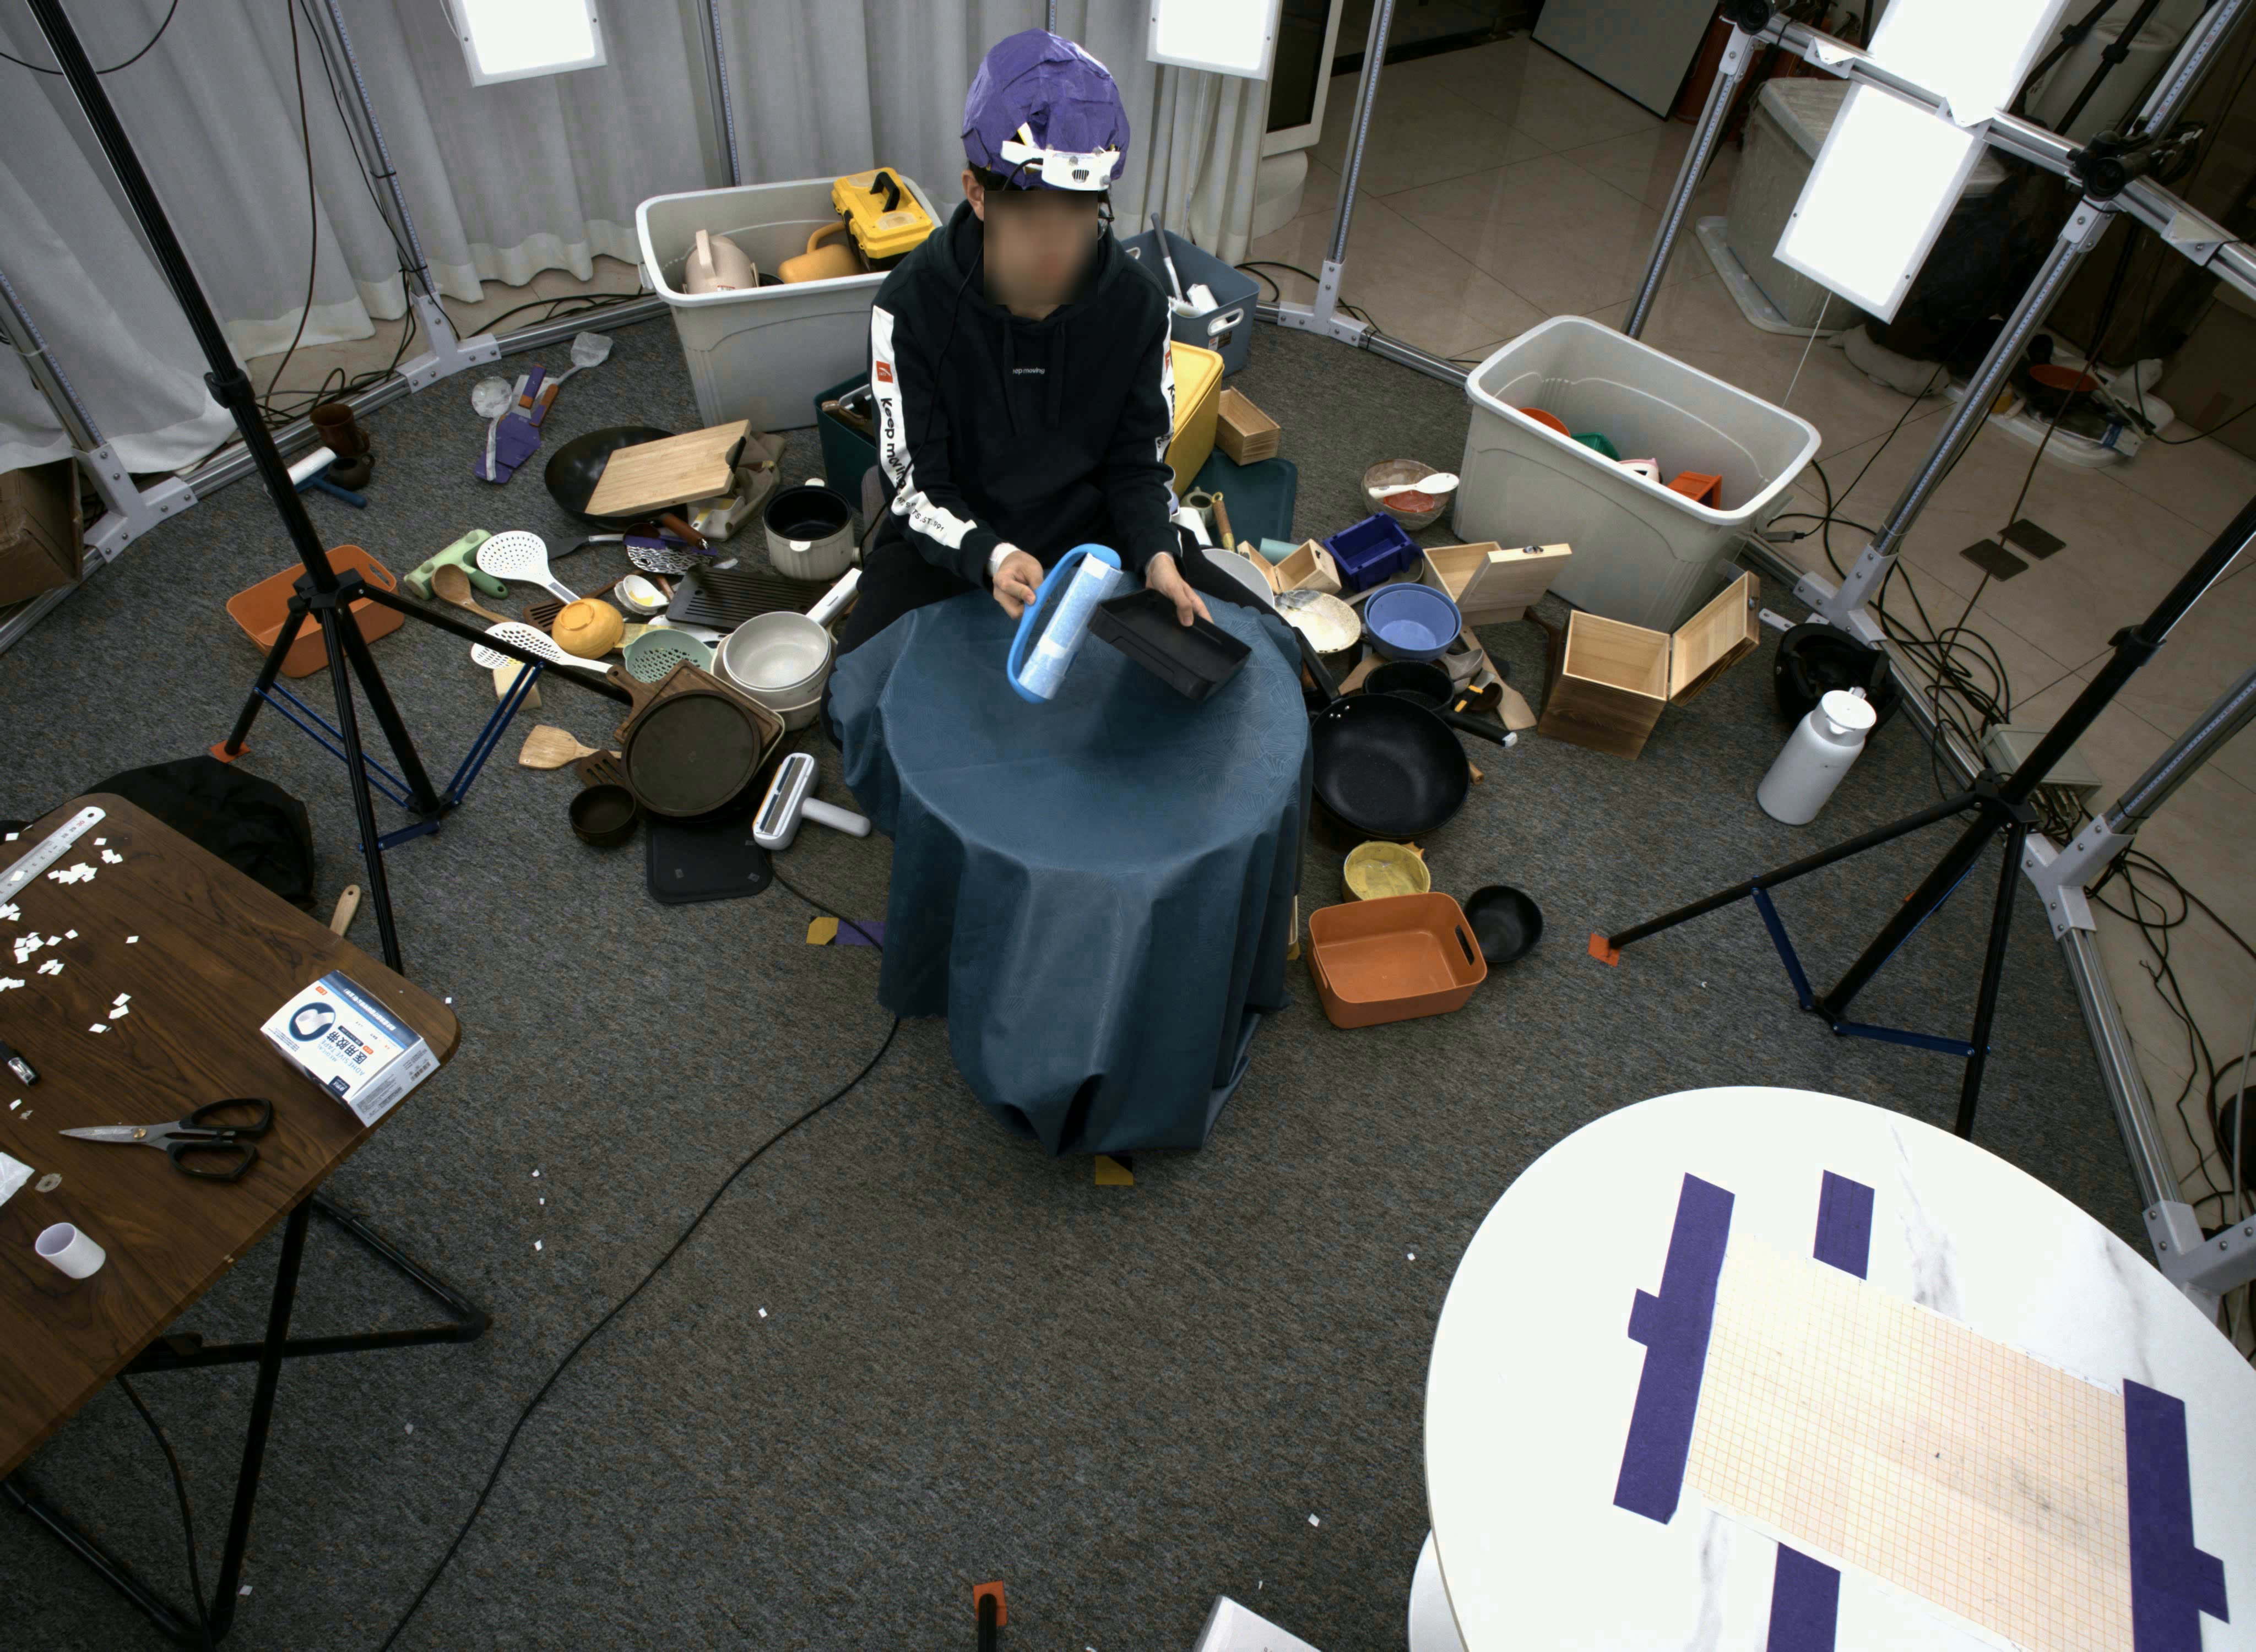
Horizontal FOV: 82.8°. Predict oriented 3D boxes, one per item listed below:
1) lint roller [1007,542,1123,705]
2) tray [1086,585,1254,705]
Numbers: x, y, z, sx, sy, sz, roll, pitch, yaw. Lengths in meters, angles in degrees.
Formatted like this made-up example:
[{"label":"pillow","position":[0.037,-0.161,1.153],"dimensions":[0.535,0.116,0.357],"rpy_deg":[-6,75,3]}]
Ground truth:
[{"label":"lint roller","position":[-0.107,-0.288,1.719],"dimensions":[0.067,0.227,0.184],"rpy_deg":[19,15,-40]},{"label":"tray","position":[0.064,-0.252,1.748],"dimensions":[0.185,0.036,0.321],"rpy_deg":[32,21,5]}]
